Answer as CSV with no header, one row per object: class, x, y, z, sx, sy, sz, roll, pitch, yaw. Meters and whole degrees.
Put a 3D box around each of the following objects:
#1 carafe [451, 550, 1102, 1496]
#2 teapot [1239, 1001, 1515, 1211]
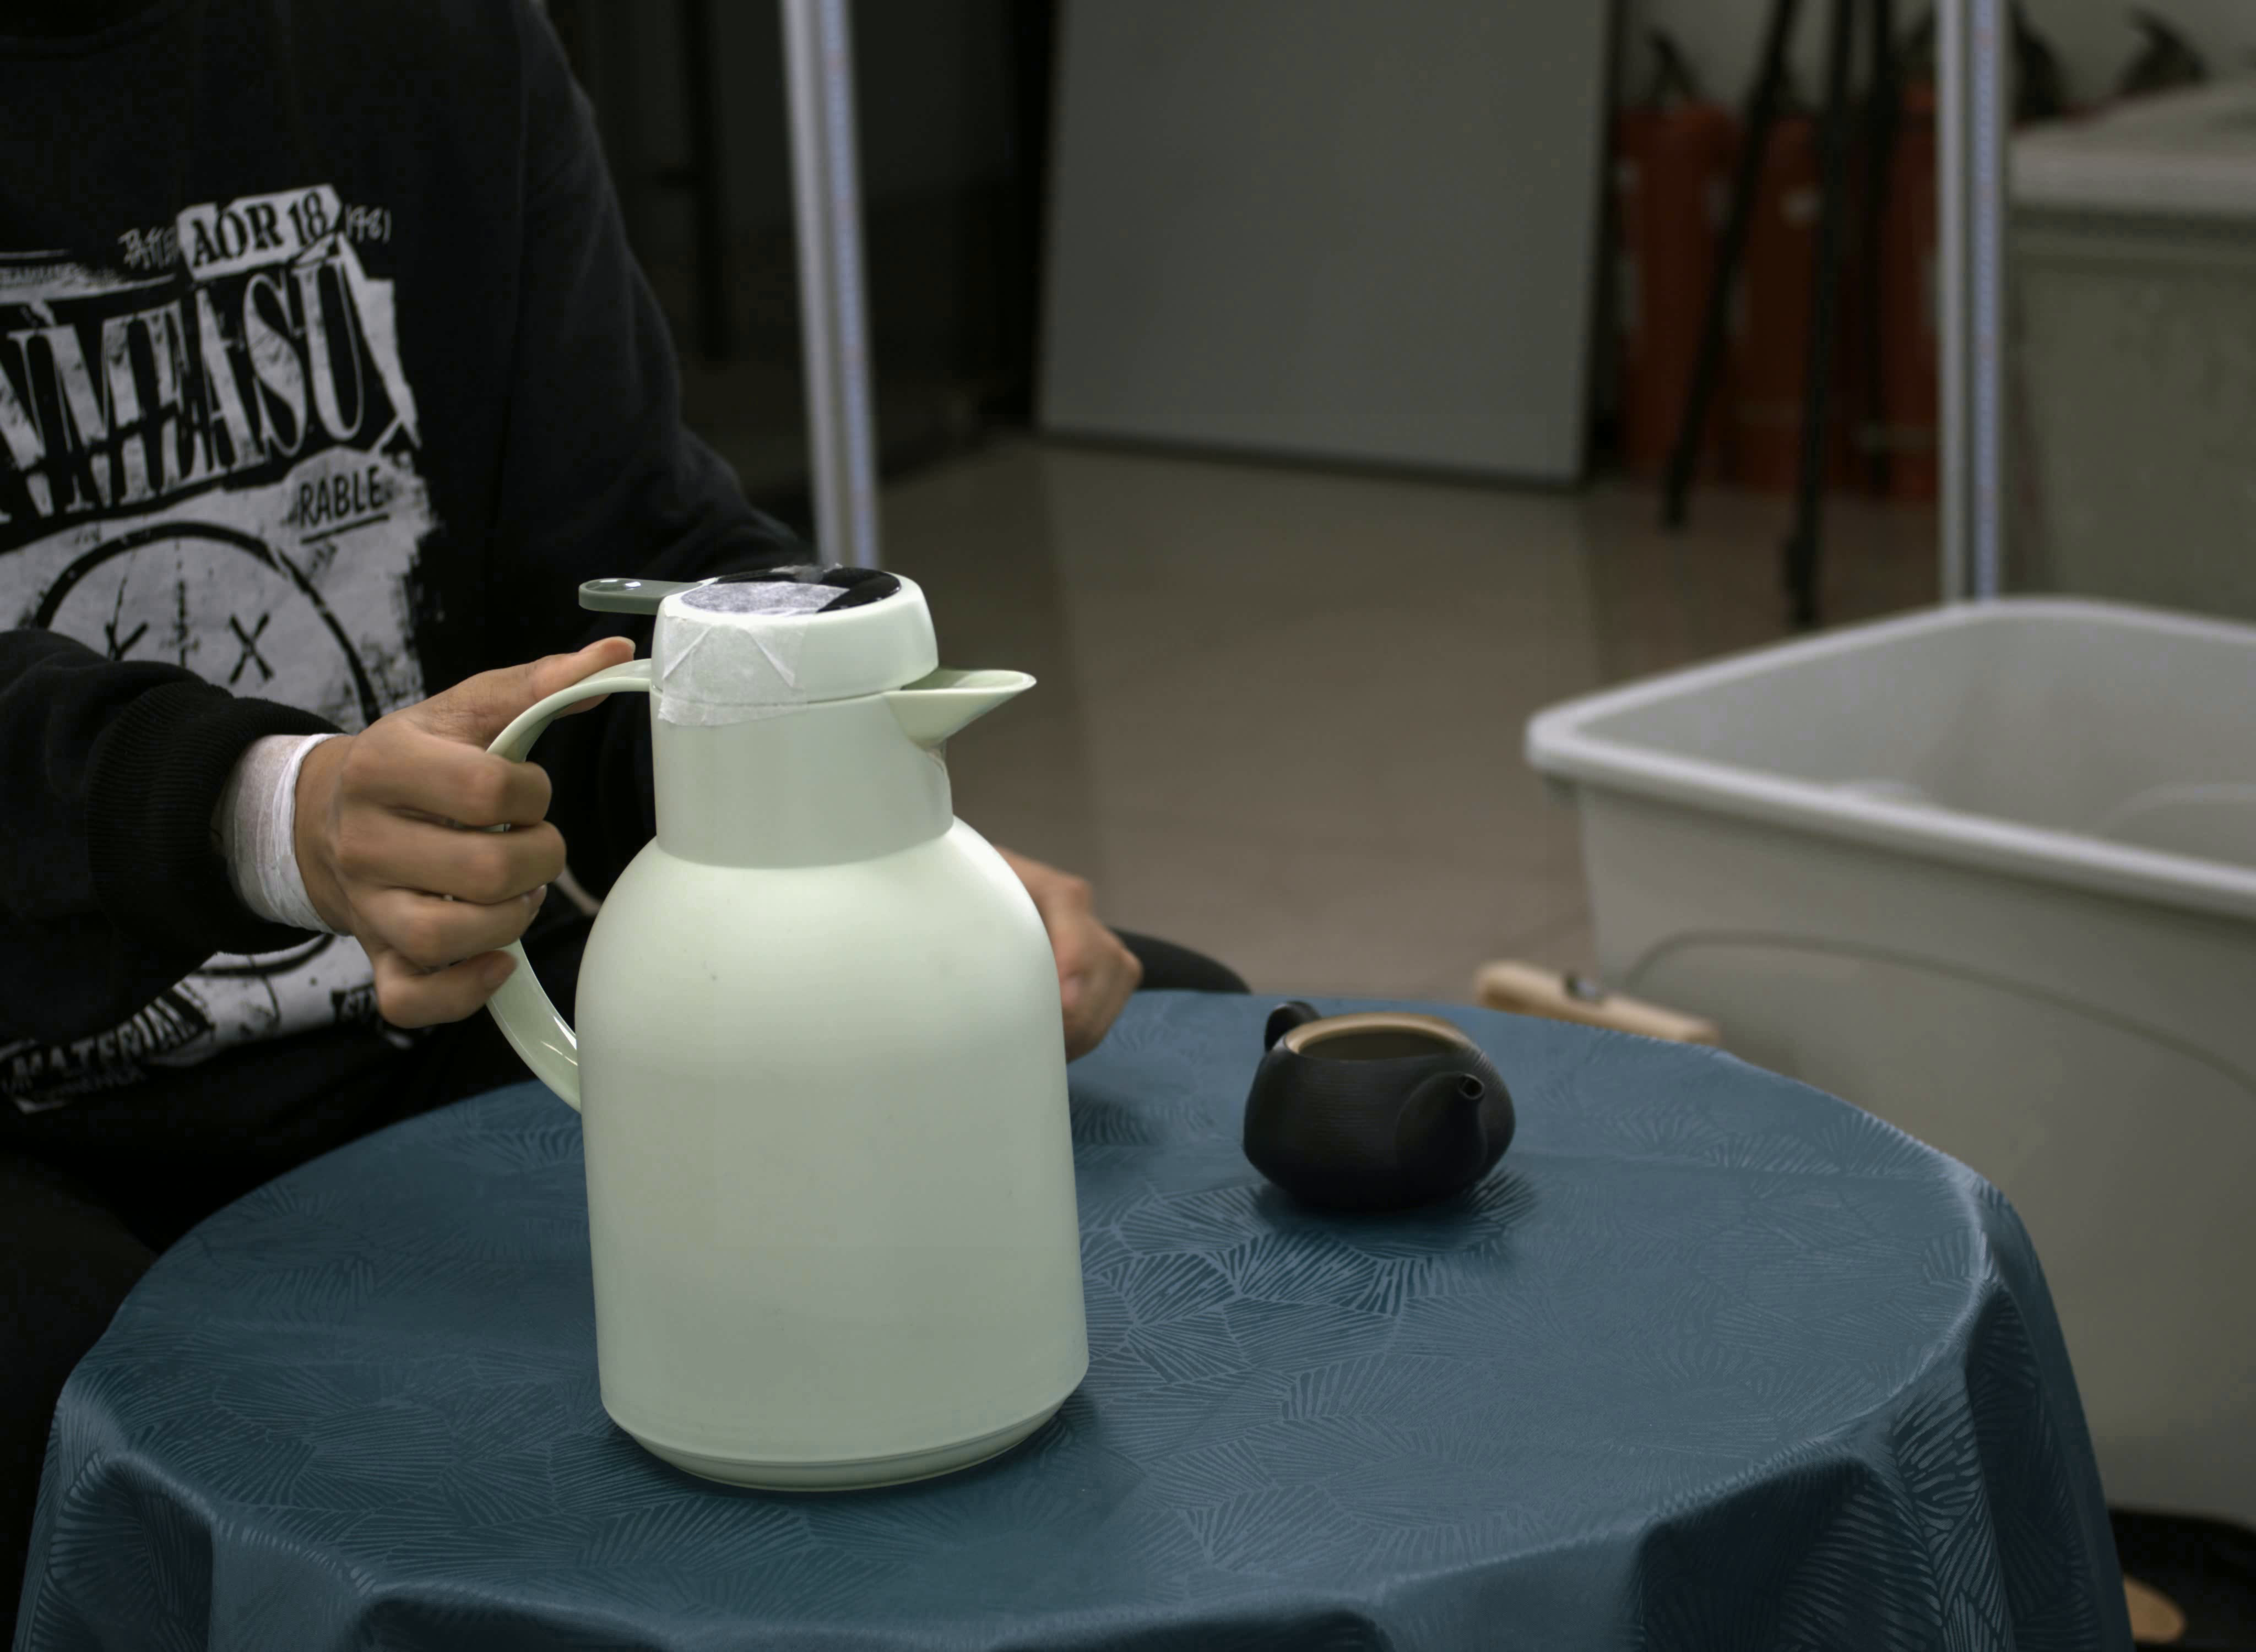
carafe,-0.102,0.052,1.562,0.187,0.259,0.143,-2,15,23
teapot,0.081,0.093,1.752,0.089,0.053,0.134,-9,14,-26
